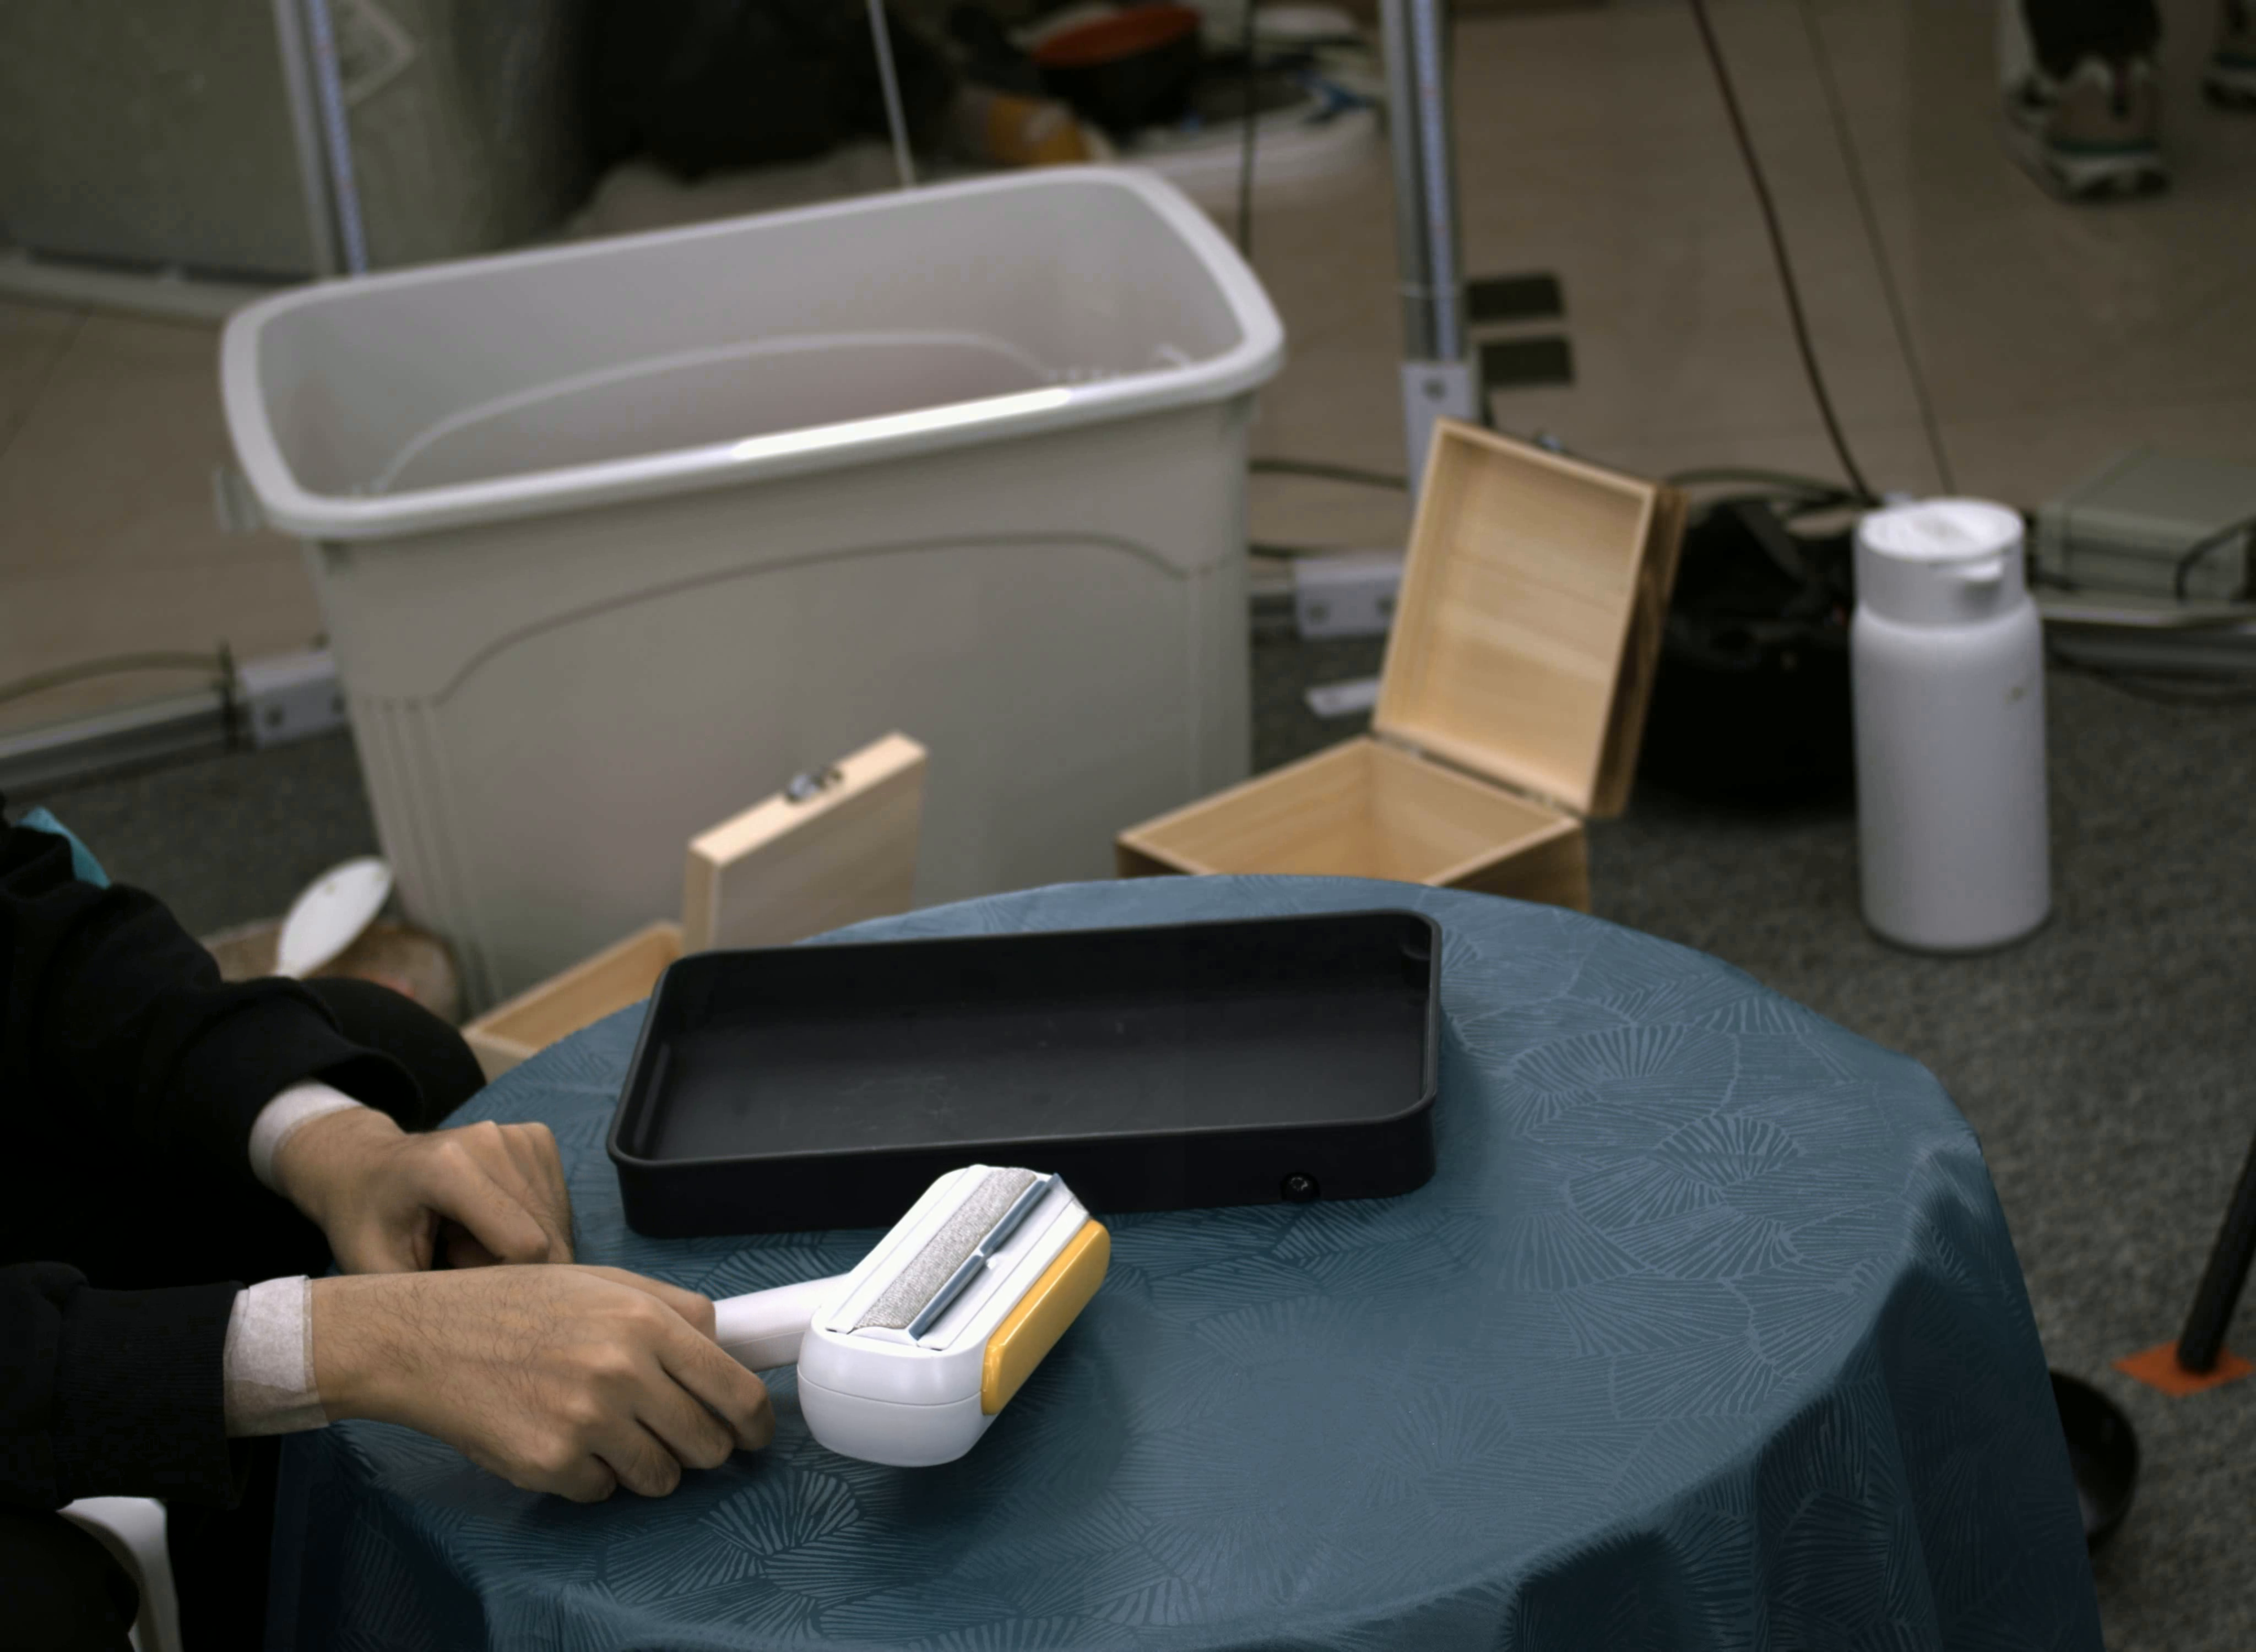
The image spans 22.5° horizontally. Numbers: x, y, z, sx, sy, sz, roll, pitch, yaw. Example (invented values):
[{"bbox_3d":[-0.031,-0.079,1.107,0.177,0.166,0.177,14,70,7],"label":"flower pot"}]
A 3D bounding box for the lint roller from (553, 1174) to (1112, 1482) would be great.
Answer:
[{"bbox_3d":[-0.117,0.178,2.009,0.192,0.075,0.190,1,21,20],"label":"lint roller"}]

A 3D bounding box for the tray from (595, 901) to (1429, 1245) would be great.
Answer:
[{"bbox_3d":[-0.041,0.094,2.206,0.317,0.037,0.181,-5,25,5],"label":"tray"}]
